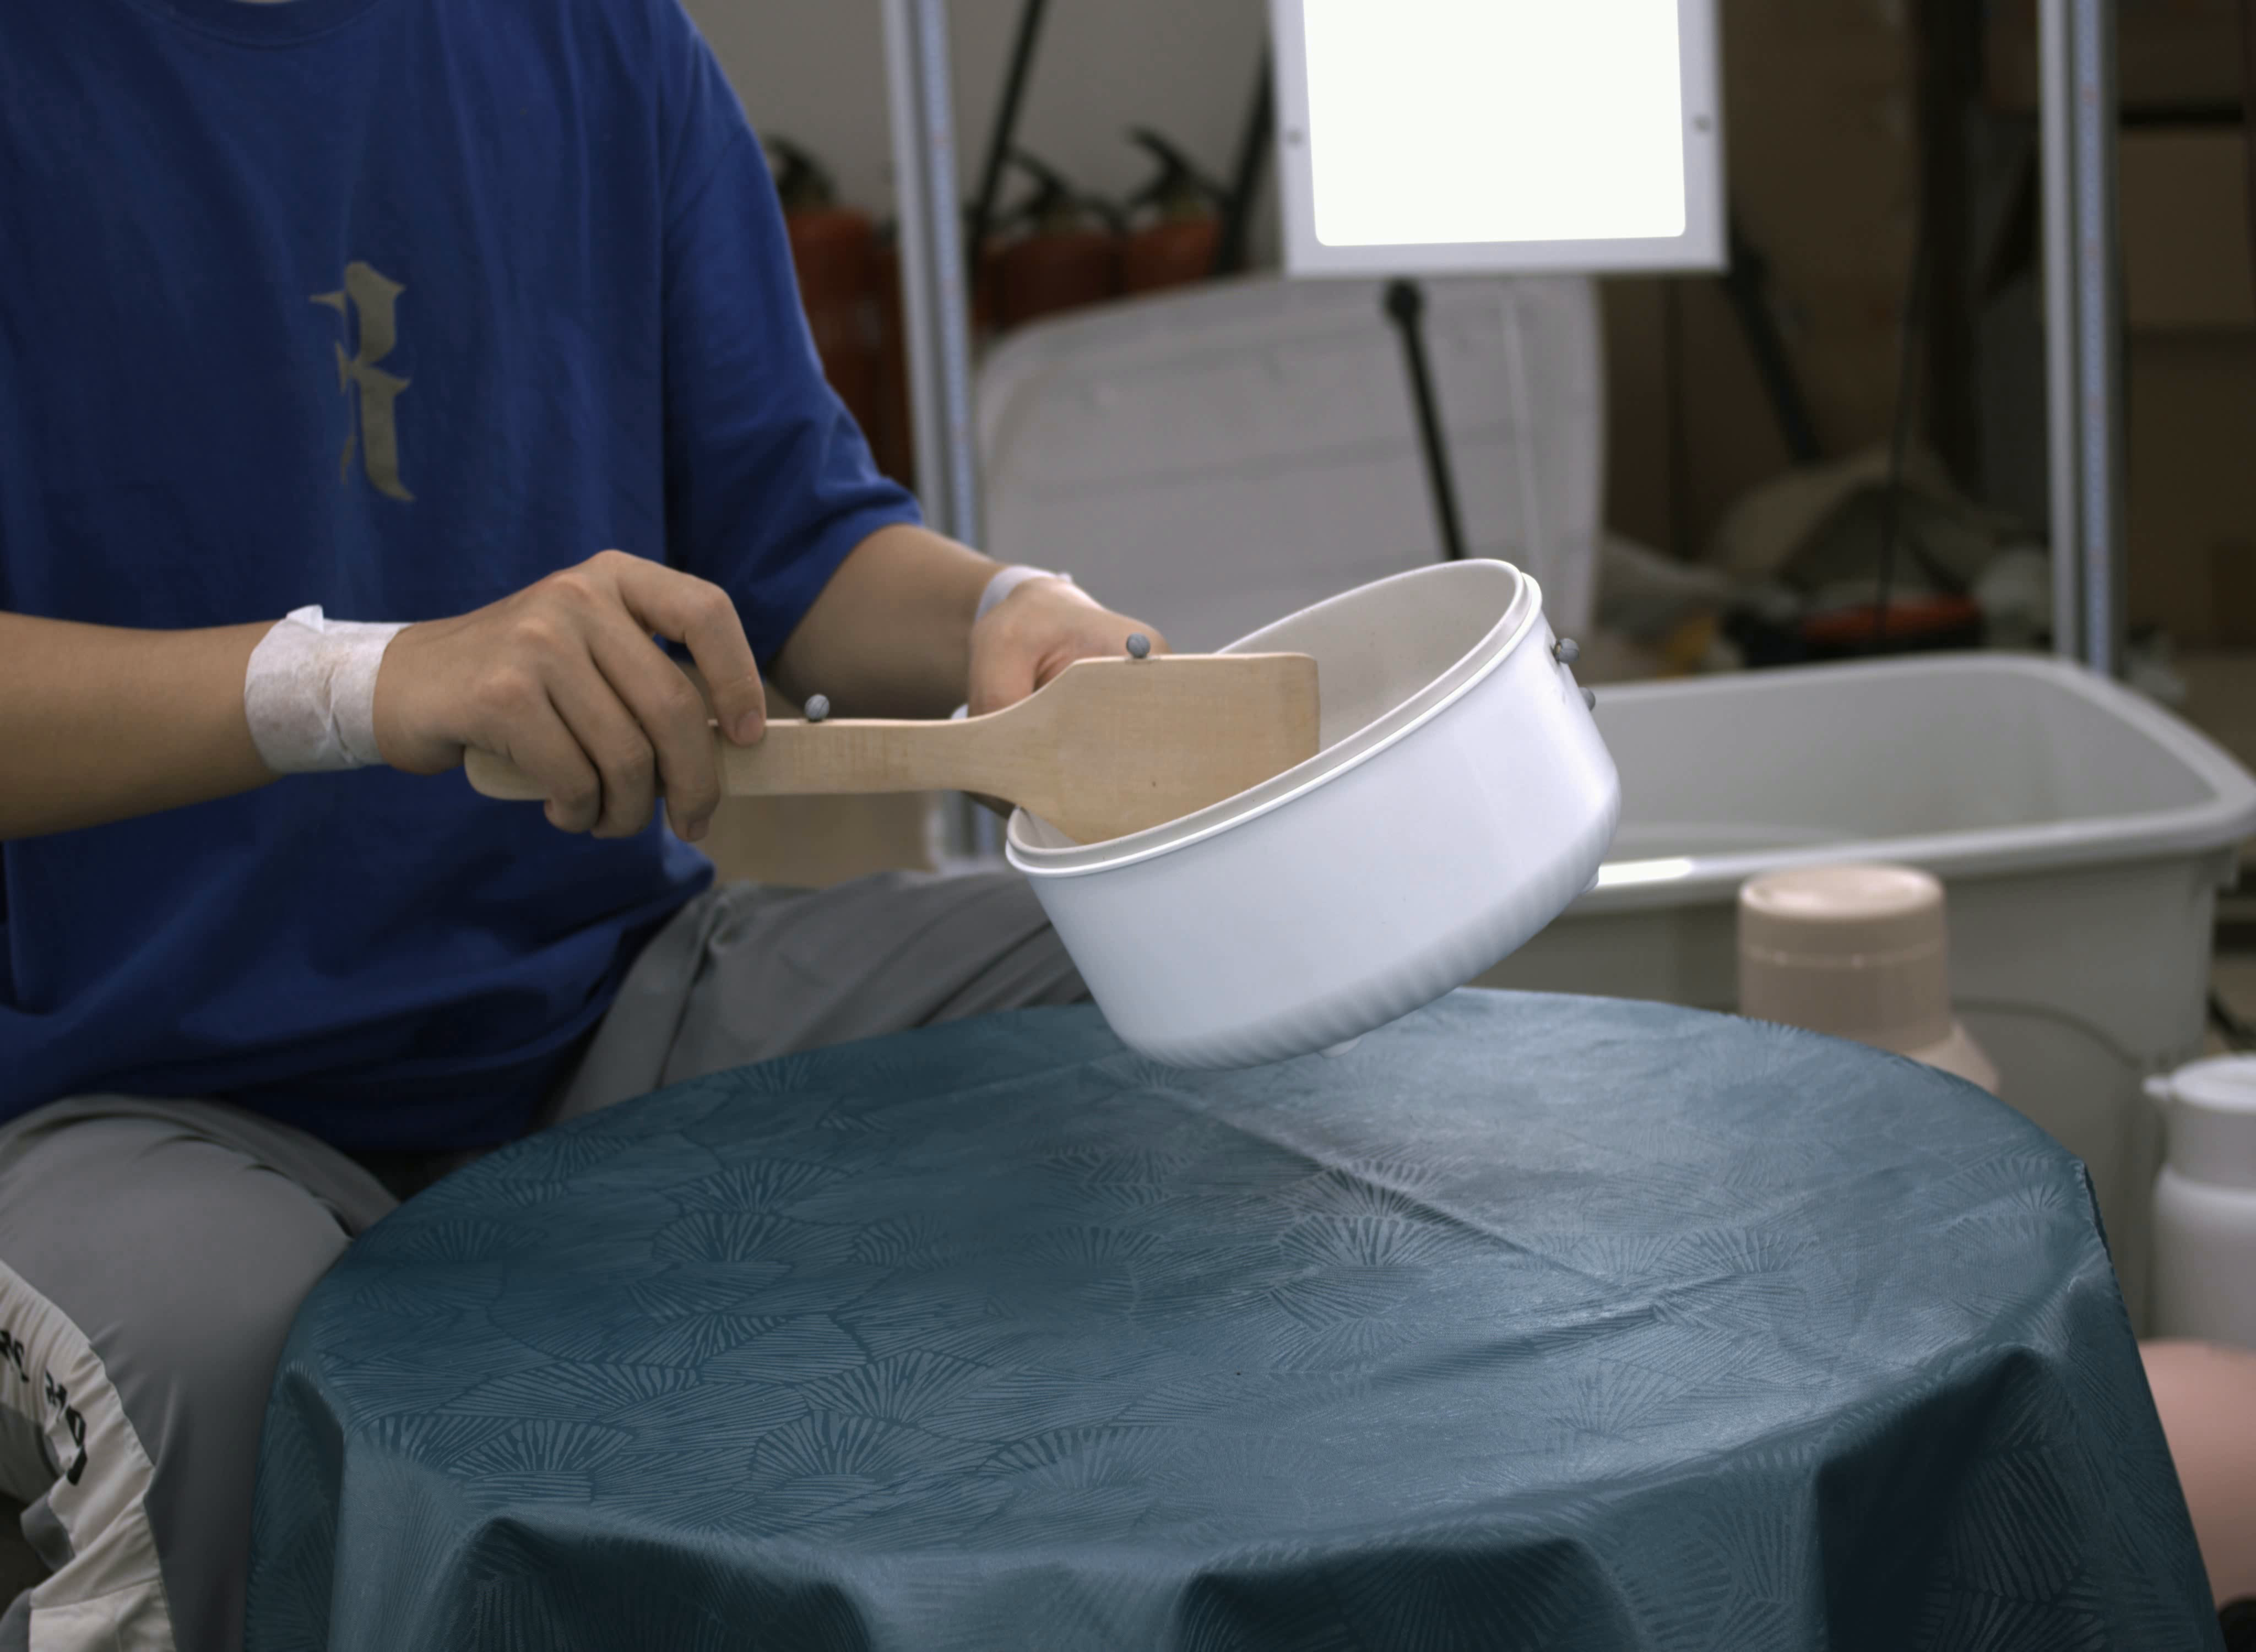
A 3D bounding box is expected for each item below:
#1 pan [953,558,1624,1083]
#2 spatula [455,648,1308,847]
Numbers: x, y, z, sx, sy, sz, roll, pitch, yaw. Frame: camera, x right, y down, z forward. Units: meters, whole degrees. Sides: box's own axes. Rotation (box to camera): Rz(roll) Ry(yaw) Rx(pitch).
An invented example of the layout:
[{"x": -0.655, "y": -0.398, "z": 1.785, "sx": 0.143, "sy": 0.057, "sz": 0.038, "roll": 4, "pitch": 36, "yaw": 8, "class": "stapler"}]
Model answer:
[{"x": 0.038, "y": -0.001, "z": 1.933, "sx": 0.198, "sy": 0.102, "sz": 0.360, "roll": -35, "pitch": 16, "yaw": -18, "class": "pan"}, {"x": -0.084, "y": -0.026, "z": 1.879, "sx": 0.292, "sy": 0.072, "sz": 0.010, "roll": 0, "pitch": 22, "yaw": 2, "class": "spatula"}]
